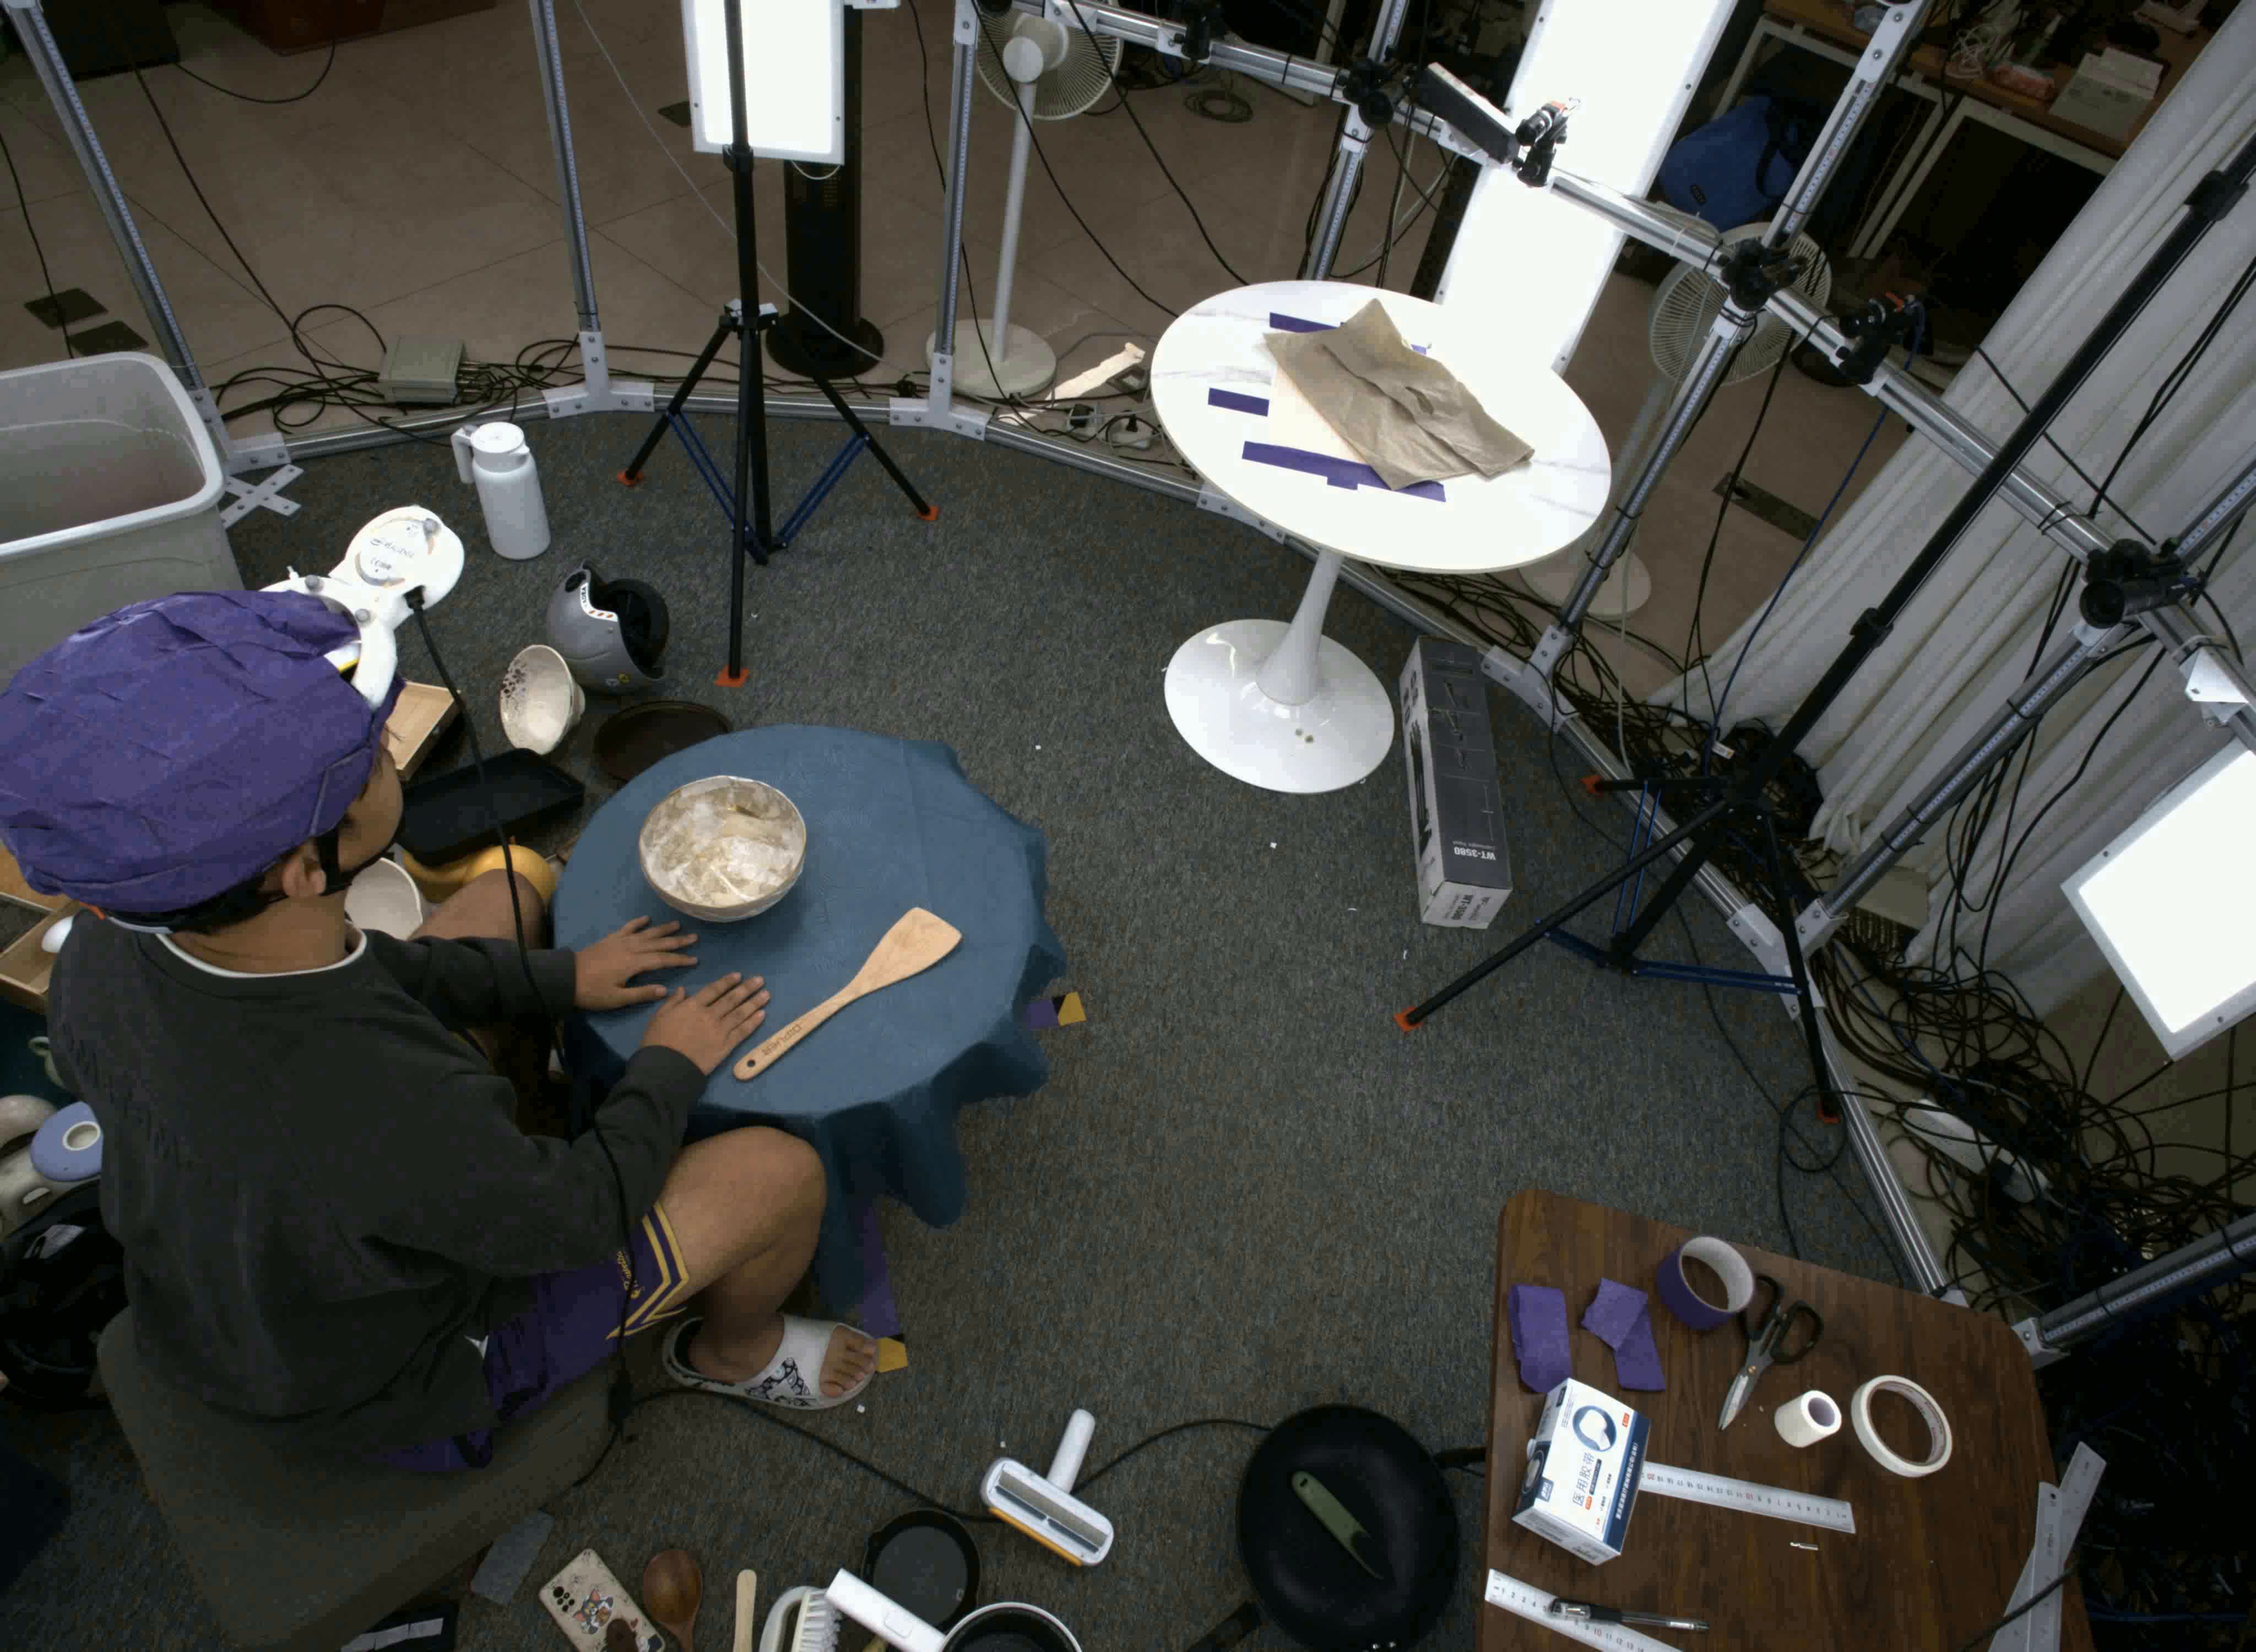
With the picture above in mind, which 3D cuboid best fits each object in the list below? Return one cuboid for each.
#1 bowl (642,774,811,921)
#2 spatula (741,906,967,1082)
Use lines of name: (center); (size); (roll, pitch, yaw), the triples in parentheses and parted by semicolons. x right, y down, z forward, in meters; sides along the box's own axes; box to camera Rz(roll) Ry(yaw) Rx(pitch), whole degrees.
bowl: (-0.500, 0.042, 1.616); (0.214, 0.096, 0.211); (8, 52, -9)
spatula: (-0.339, 0.202, 1.589); (0.078, 0.017, 0.328); (41, 55, 16)
